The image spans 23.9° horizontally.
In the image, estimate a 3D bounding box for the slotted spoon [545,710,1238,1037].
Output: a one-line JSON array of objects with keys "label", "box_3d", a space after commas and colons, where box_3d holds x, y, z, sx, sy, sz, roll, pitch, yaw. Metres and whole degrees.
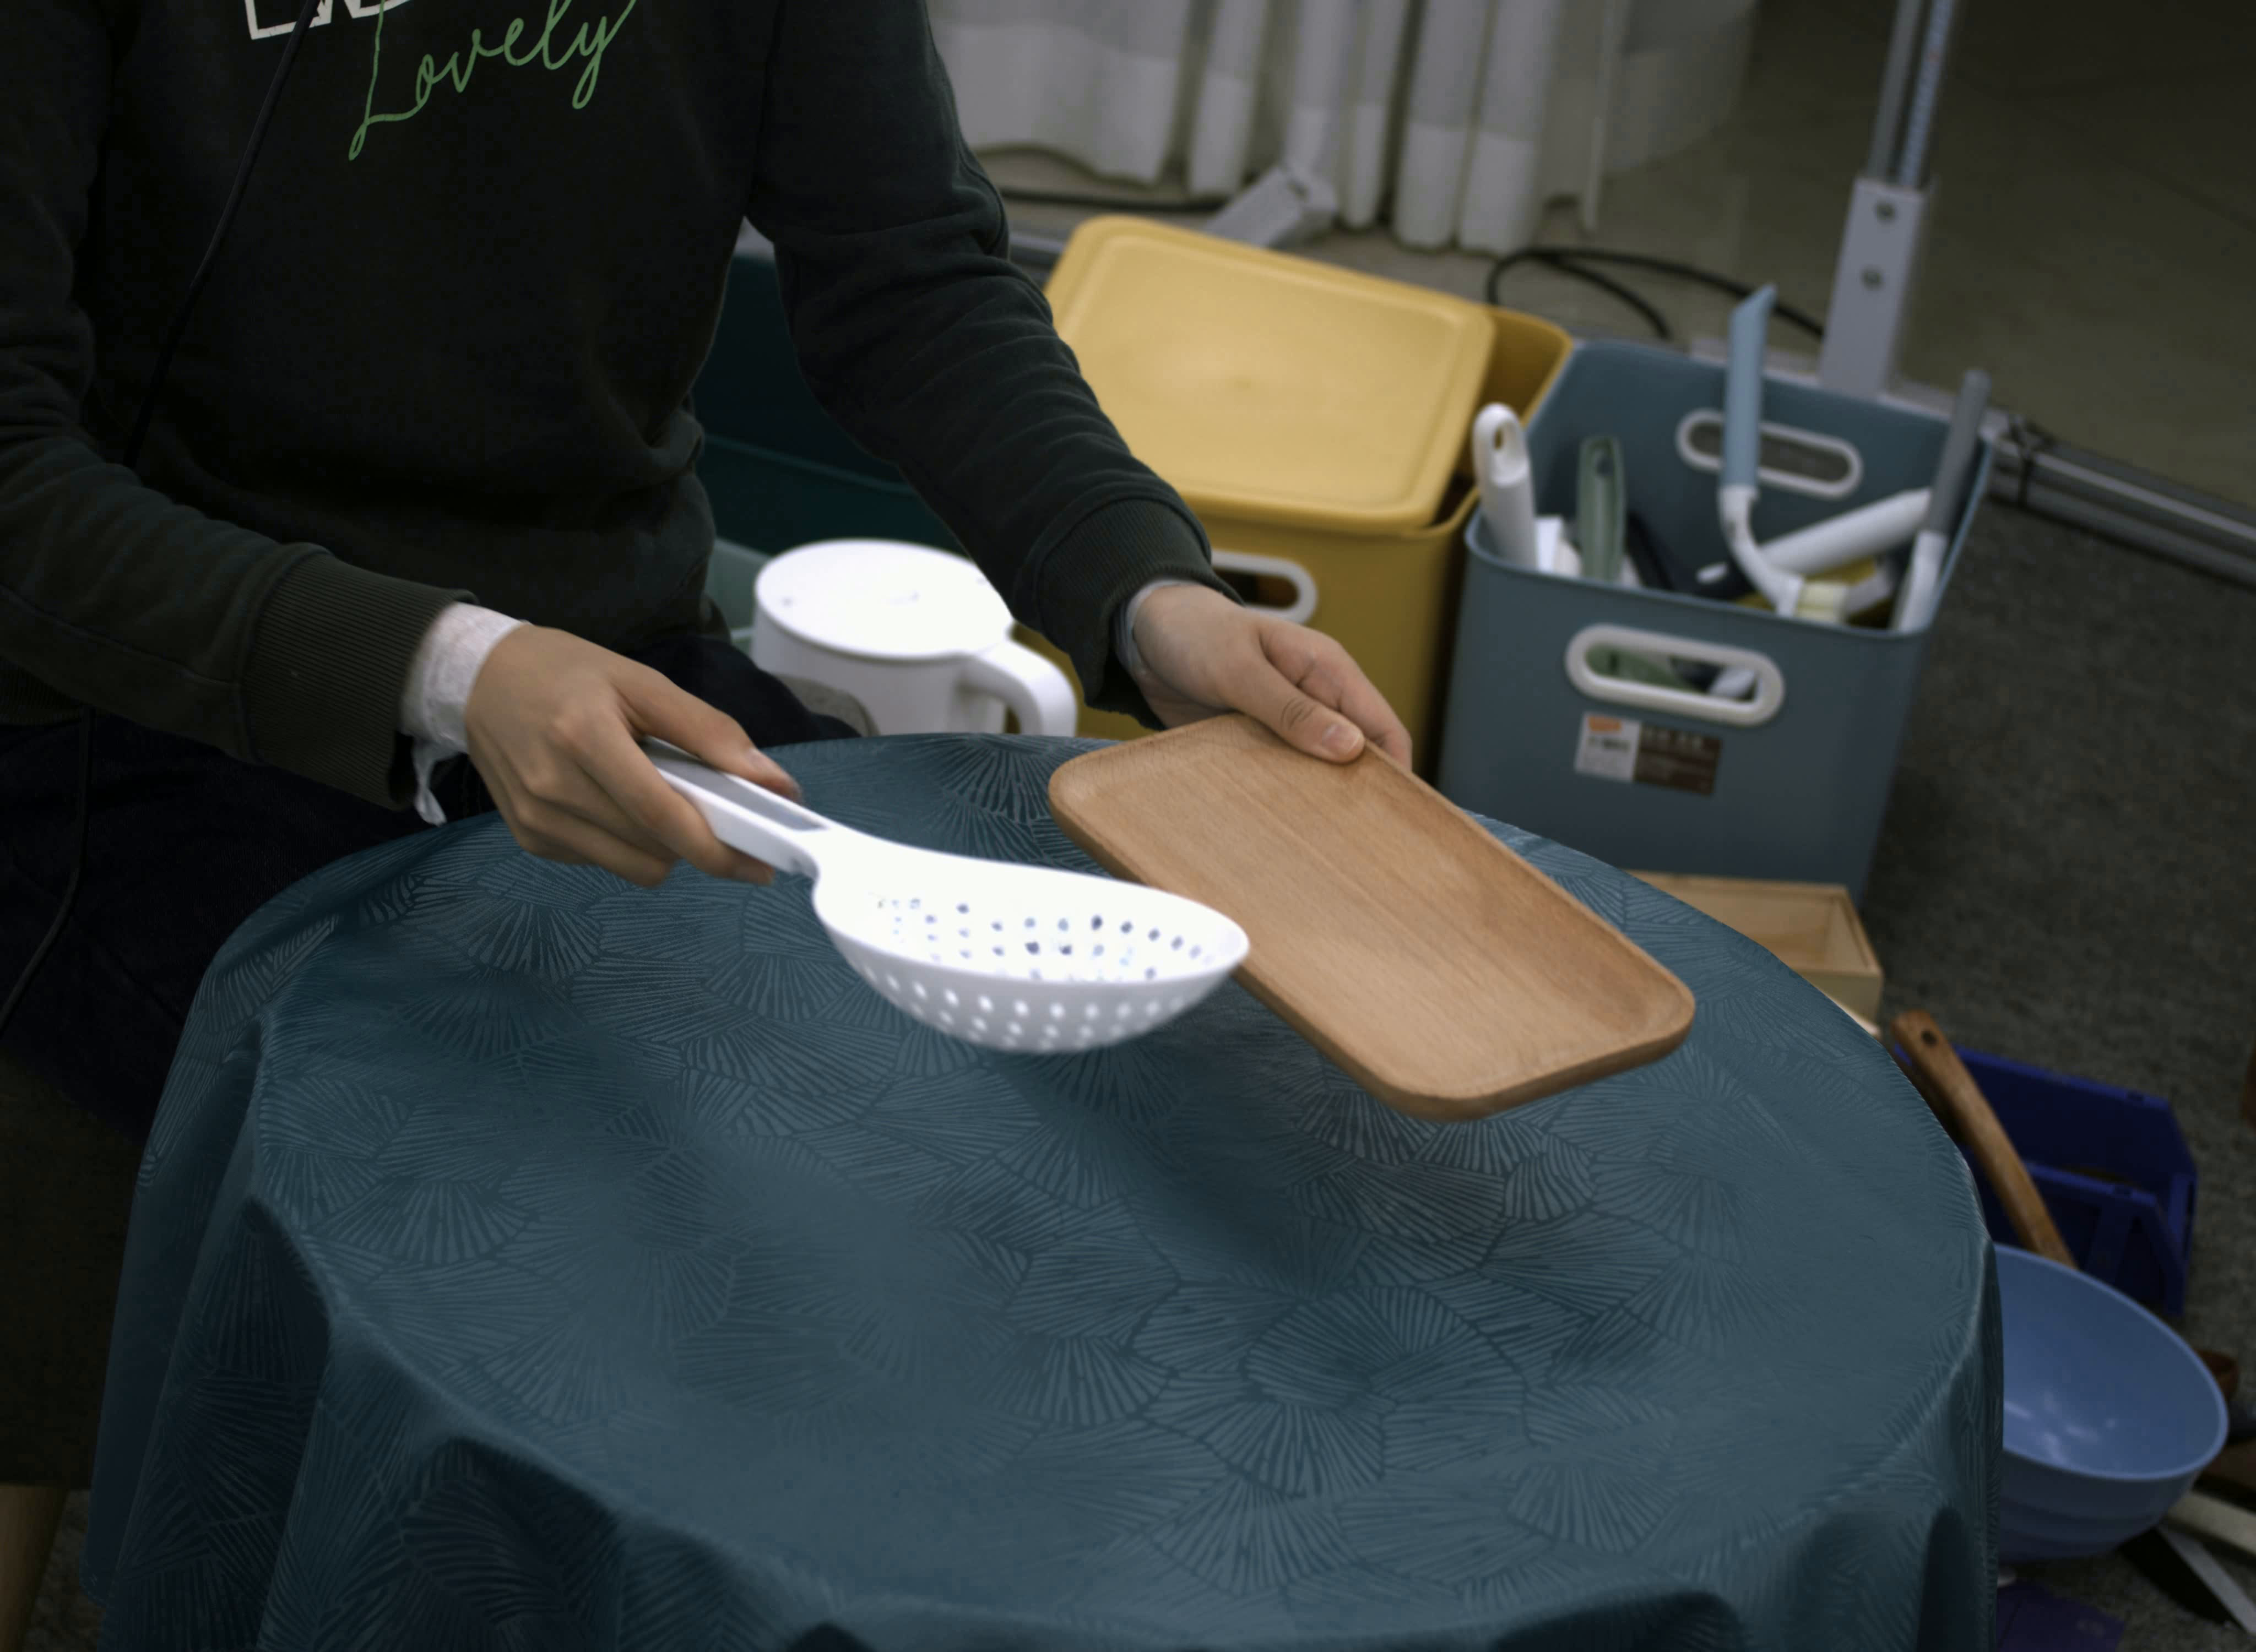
[{"label": "slotted spoon", "box_3d": [-0.097, 0.007, 1.747, 0.135, 0.046, 0.352, -2, 19, -36]}]

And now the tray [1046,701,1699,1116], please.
[{"label": "tray", "box_3d": [0.080, 0.026, 1.834, 0.130, 0.023, 0.253, -13, 33, -30]}]
